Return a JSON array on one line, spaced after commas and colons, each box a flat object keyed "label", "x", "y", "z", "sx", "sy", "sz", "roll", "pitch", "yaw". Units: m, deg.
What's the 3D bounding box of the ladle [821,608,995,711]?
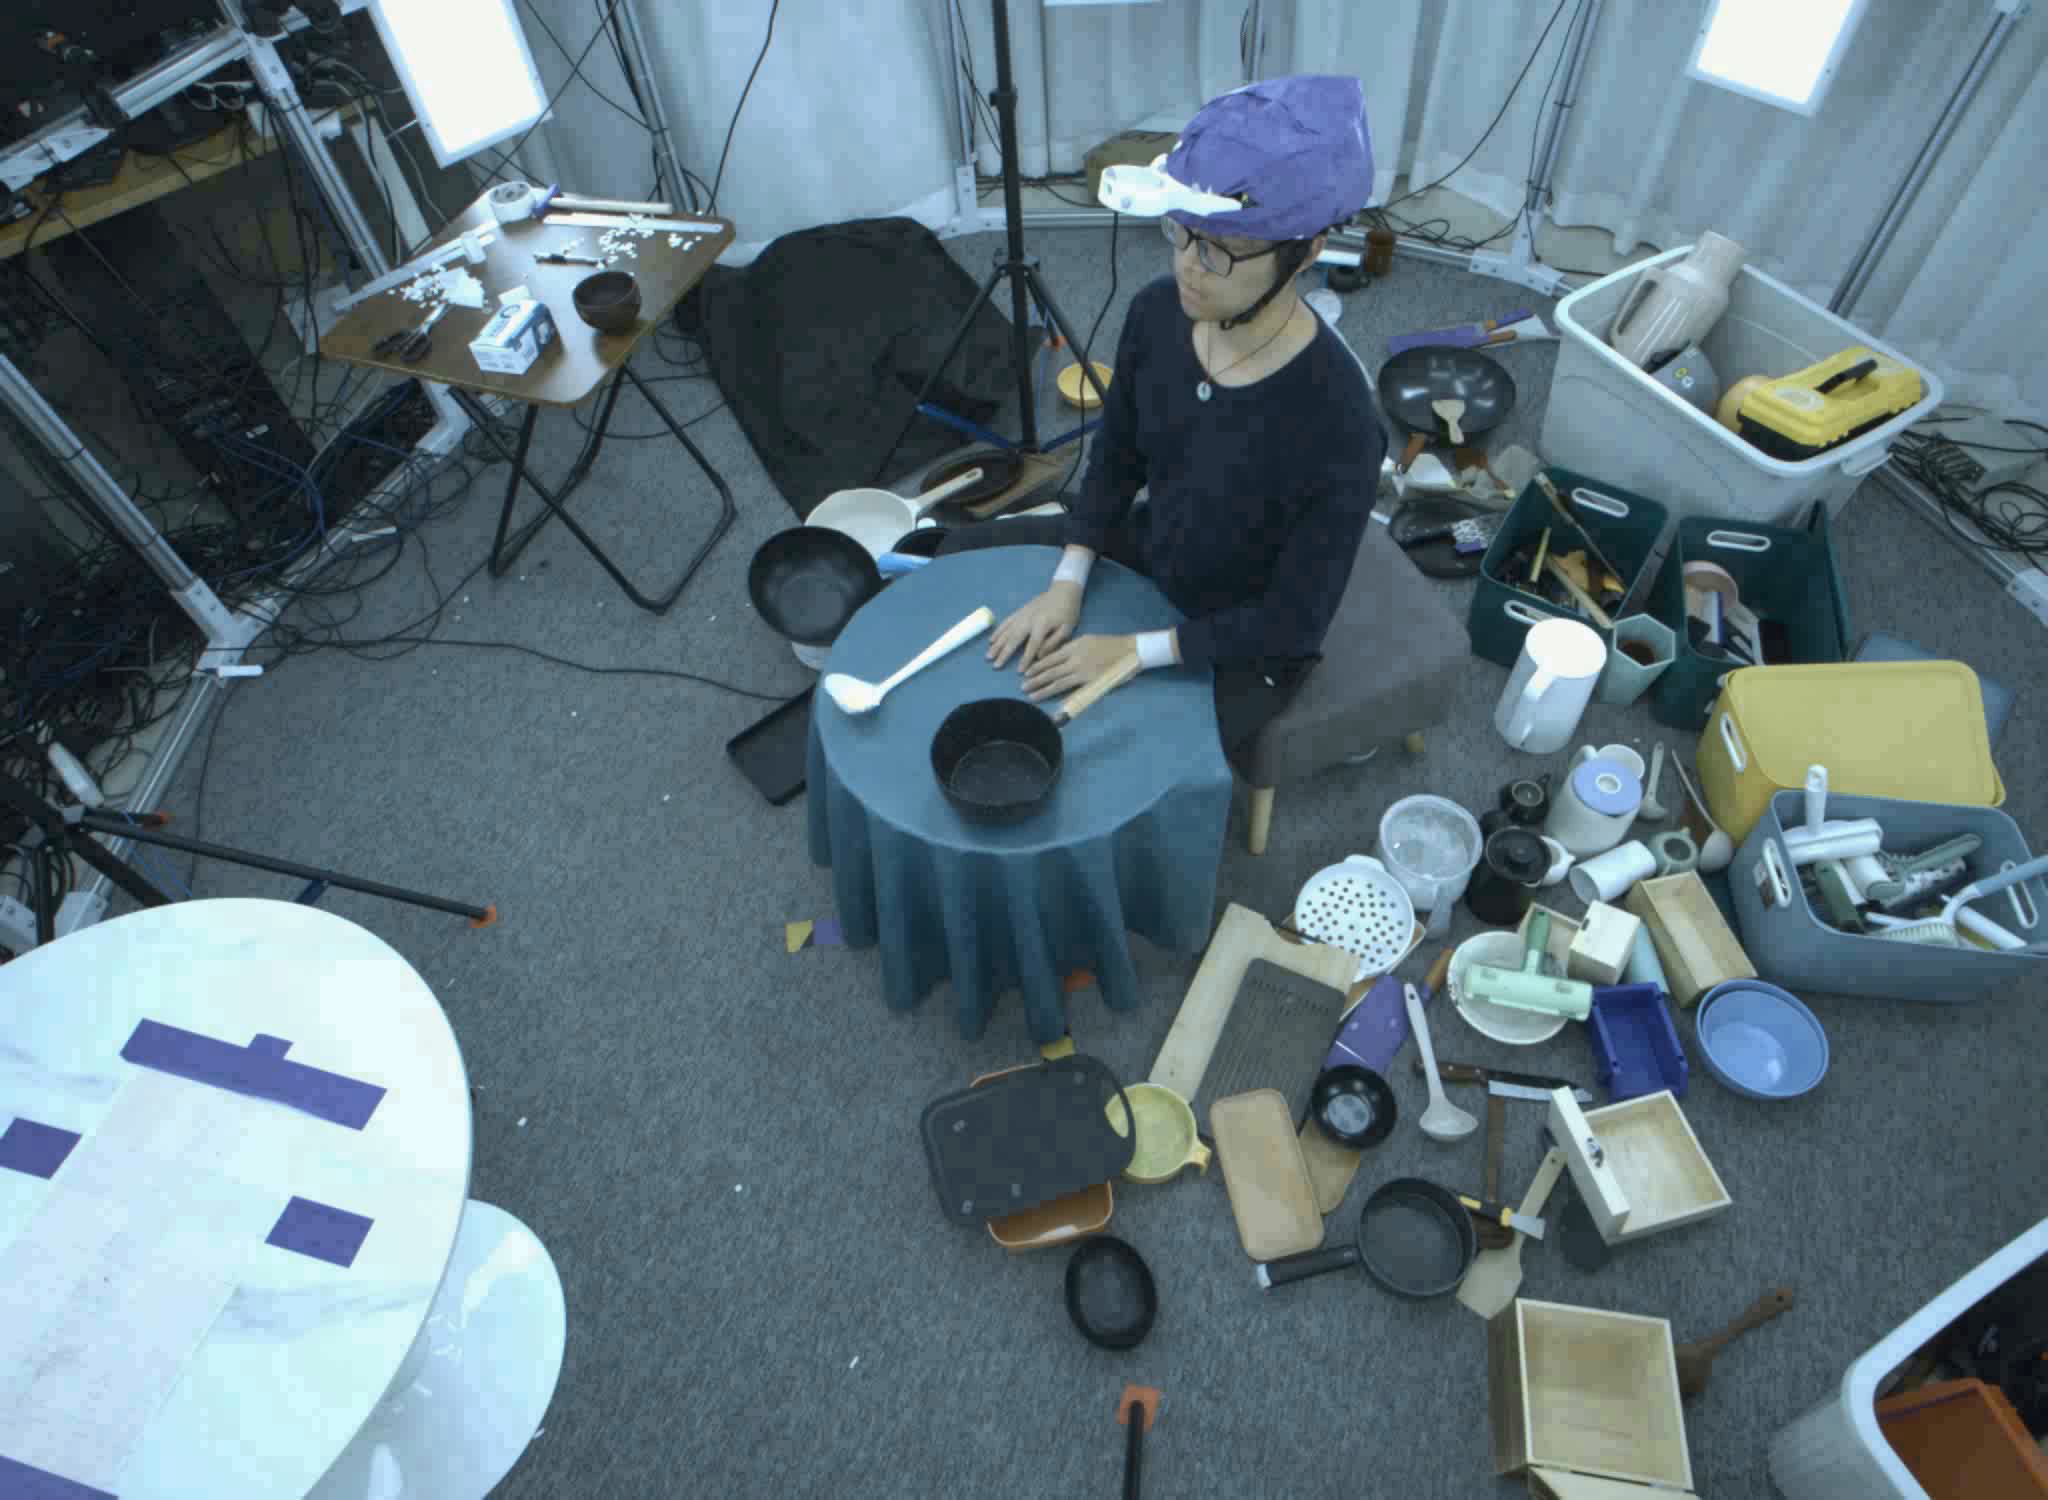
[{"label": "ladle", "x": -0.171, "y": -0.146, "z": 1.857, "sx": 0.295, "sy": 0.071, "sz": 0.088, "roll": -33, "pitch": 54, "yaw": -21}]

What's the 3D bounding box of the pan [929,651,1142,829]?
[{"label": "pan", "x": 0.027, "y": -0.023, "z": 1.736, "sx": 0.345, "sy": 0.109, "sz": 0.203, "roll": -34, "pitch": 59, "yaw": -18}]
